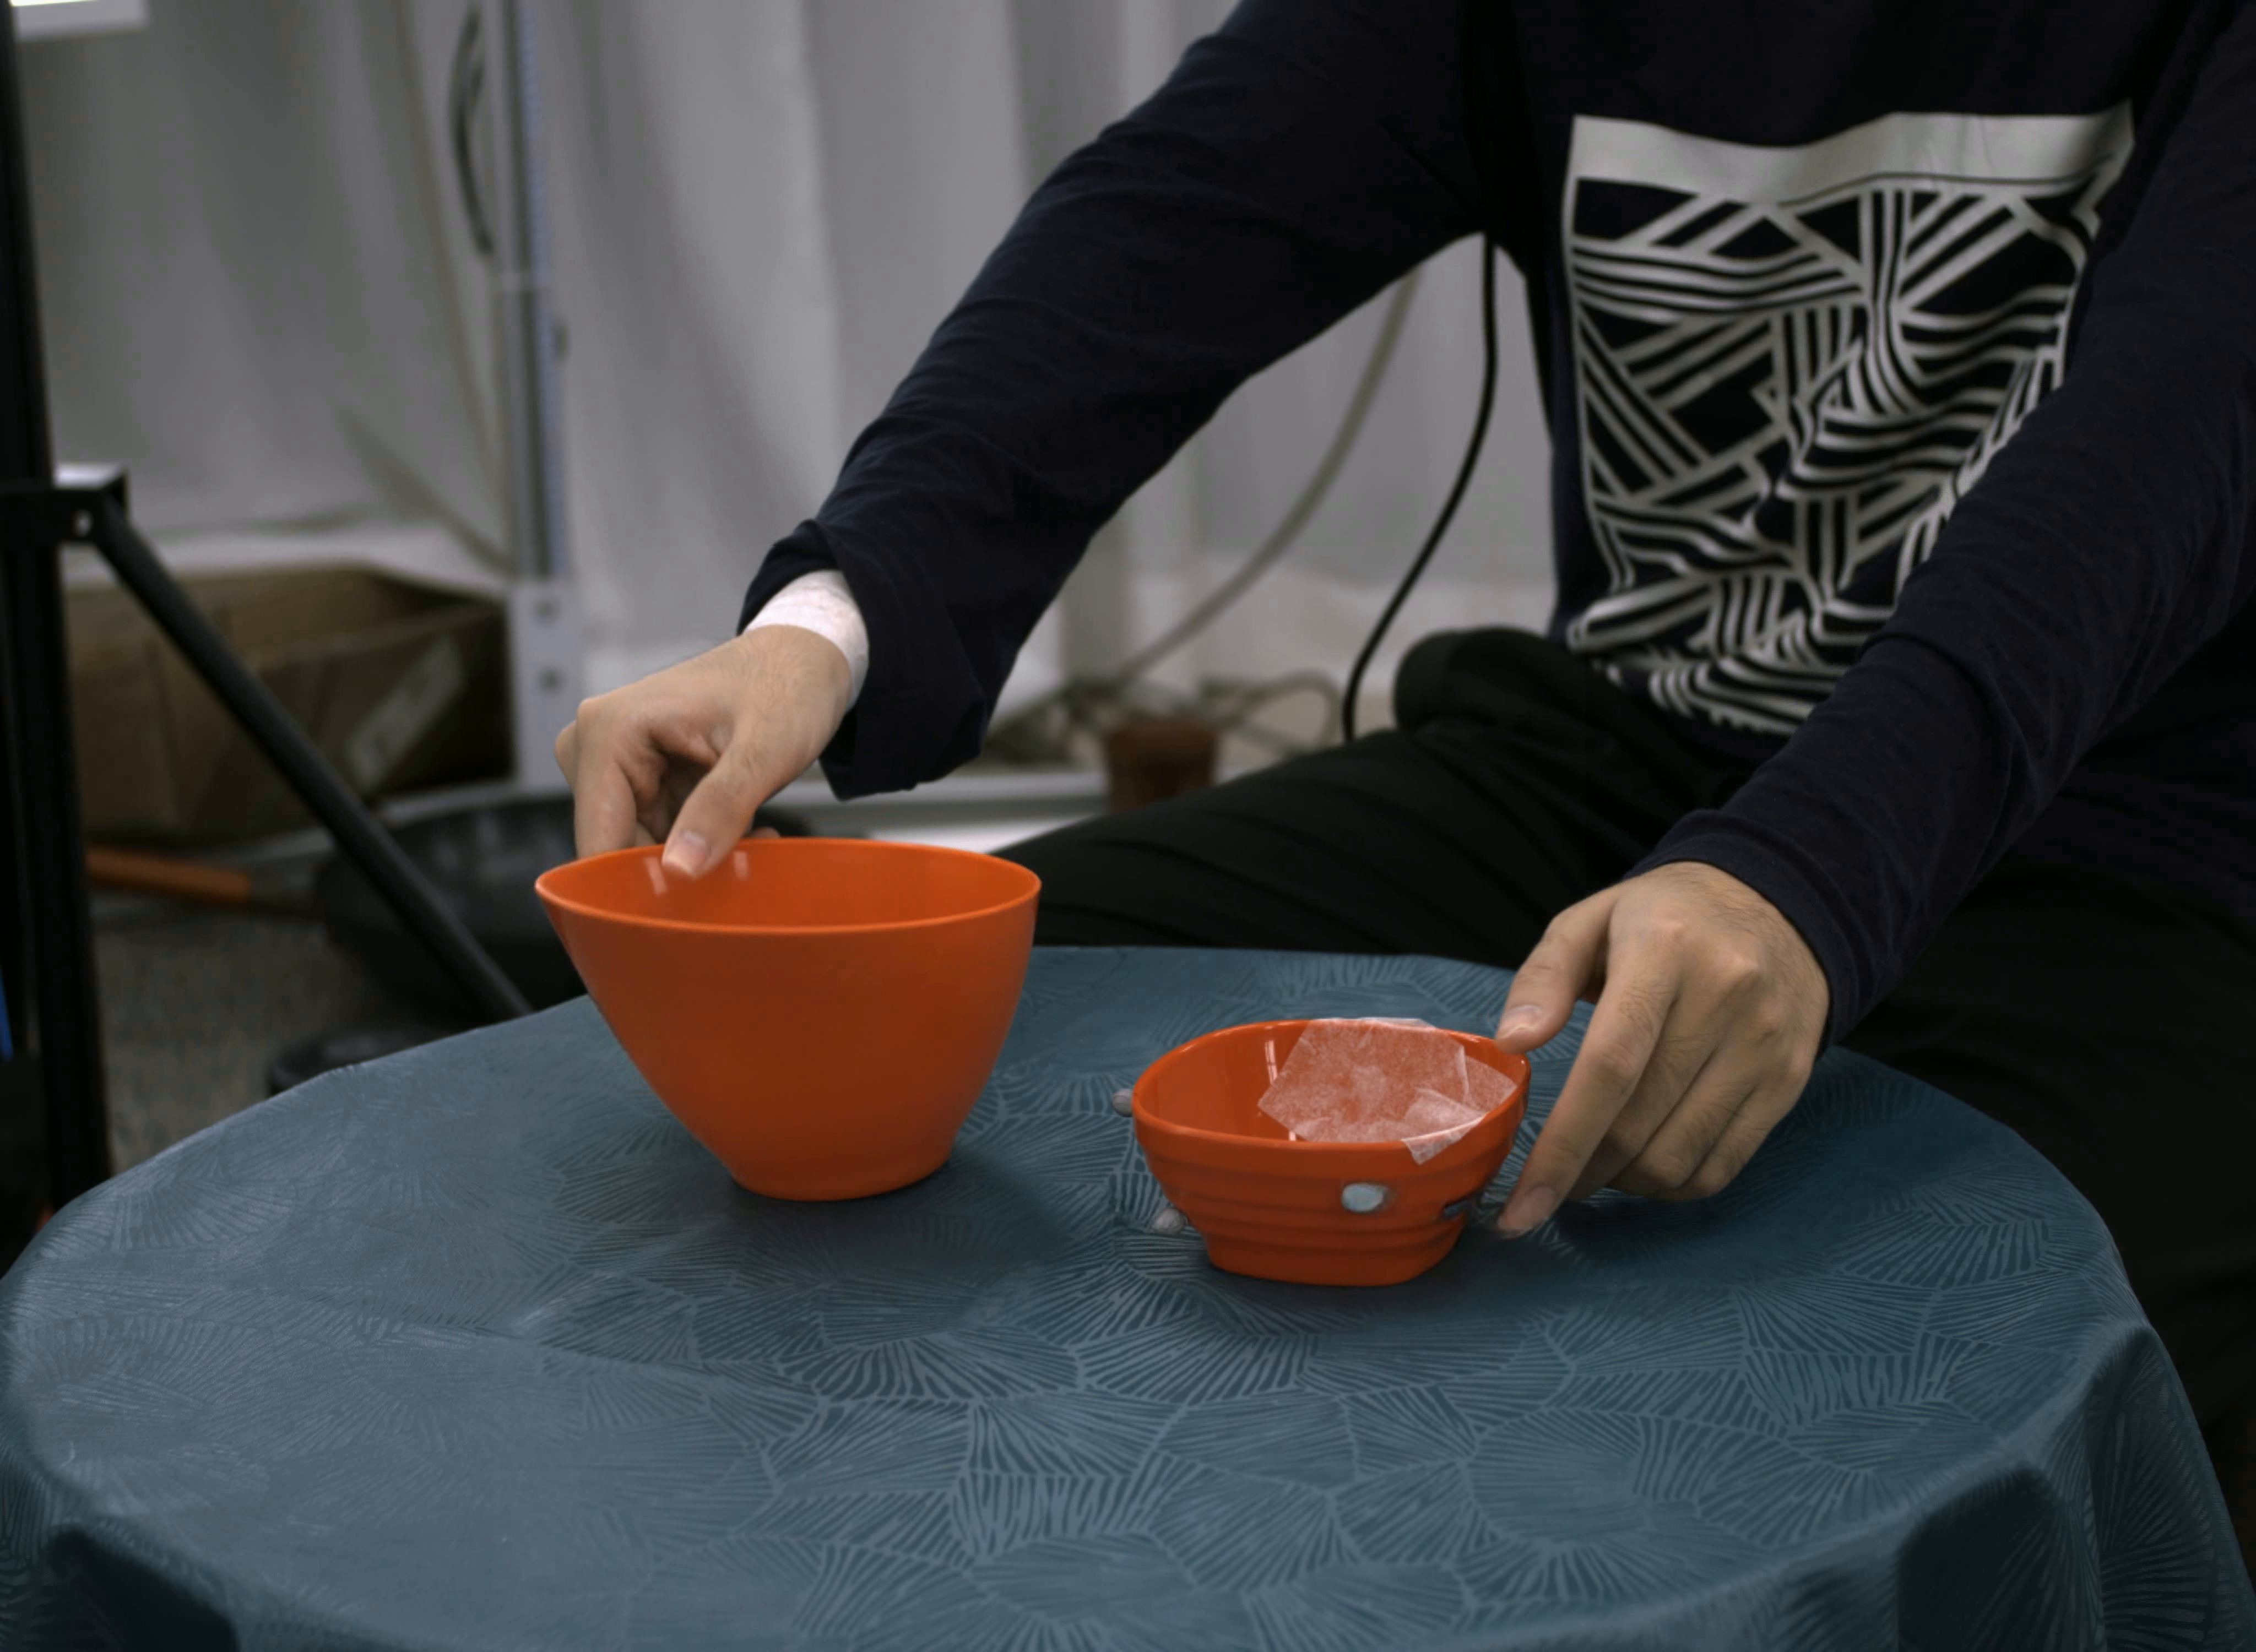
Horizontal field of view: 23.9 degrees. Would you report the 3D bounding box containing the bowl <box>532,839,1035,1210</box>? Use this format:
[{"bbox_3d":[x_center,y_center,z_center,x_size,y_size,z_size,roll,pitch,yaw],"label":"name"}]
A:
[{"bbox_3d":[-0.097,0.057,1.573,0.147,0.104,0.149,-5,17,0],"label":"bowl"}]

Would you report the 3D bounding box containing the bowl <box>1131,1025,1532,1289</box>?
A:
[{"bbox_3d":[0.059,0.096,1.505,0.118,0.051,0.119,-3,14,-1],"label":"bowl"}]
